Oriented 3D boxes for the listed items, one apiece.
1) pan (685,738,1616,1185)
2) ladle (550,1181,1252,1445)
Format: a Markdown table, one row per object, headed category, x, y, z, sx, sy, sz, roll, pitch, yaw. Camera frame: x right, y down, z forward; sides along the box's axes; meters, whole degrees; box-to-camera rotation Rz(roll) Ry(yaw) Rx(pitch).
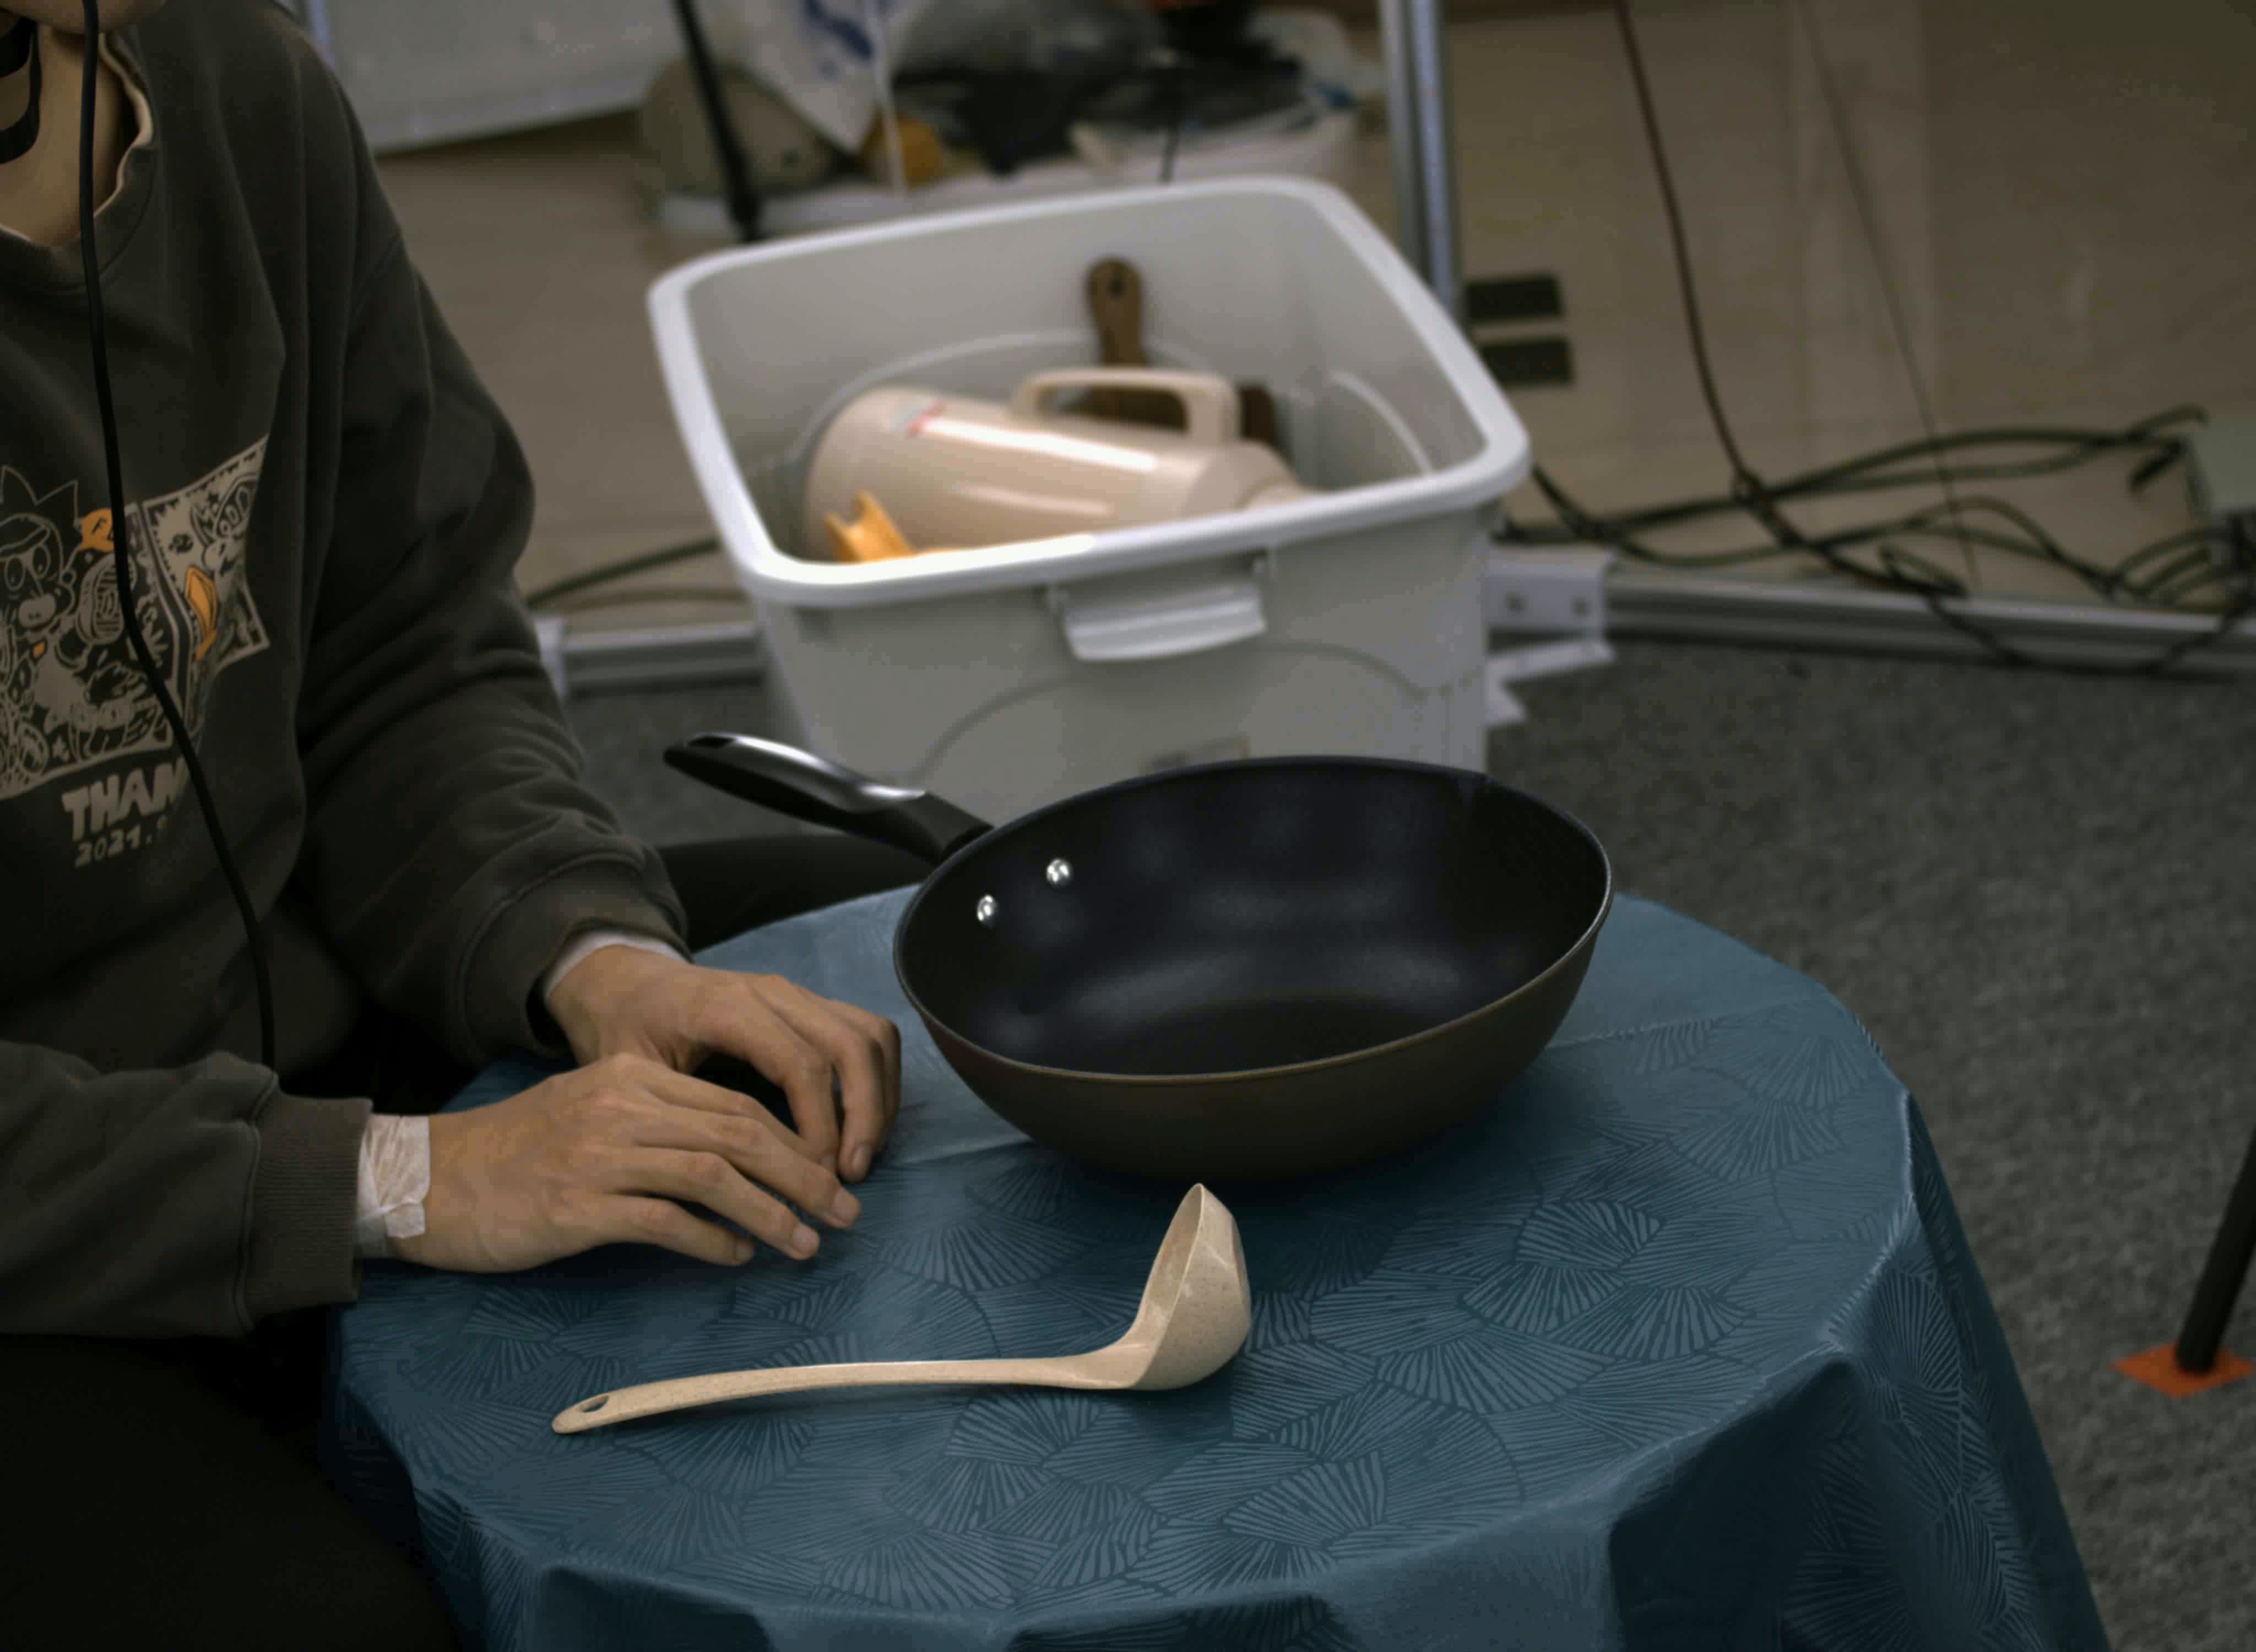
| category | x | y | z | sx | sy | sz | roll | pitch | yaw |
| --- | --- | --- | --- | --- | --- | --- | --- | --- | --- |
| pan | -0.015 | 0.047 | 2.248 | 0.460 | 0.088 | 0.285 | 15 | 33 | 41 |
| ladle | -0.084 | 0.173 | 2.008 | 0.254 | 0.074 | 0.071 | -6 | 31 | 1 |
